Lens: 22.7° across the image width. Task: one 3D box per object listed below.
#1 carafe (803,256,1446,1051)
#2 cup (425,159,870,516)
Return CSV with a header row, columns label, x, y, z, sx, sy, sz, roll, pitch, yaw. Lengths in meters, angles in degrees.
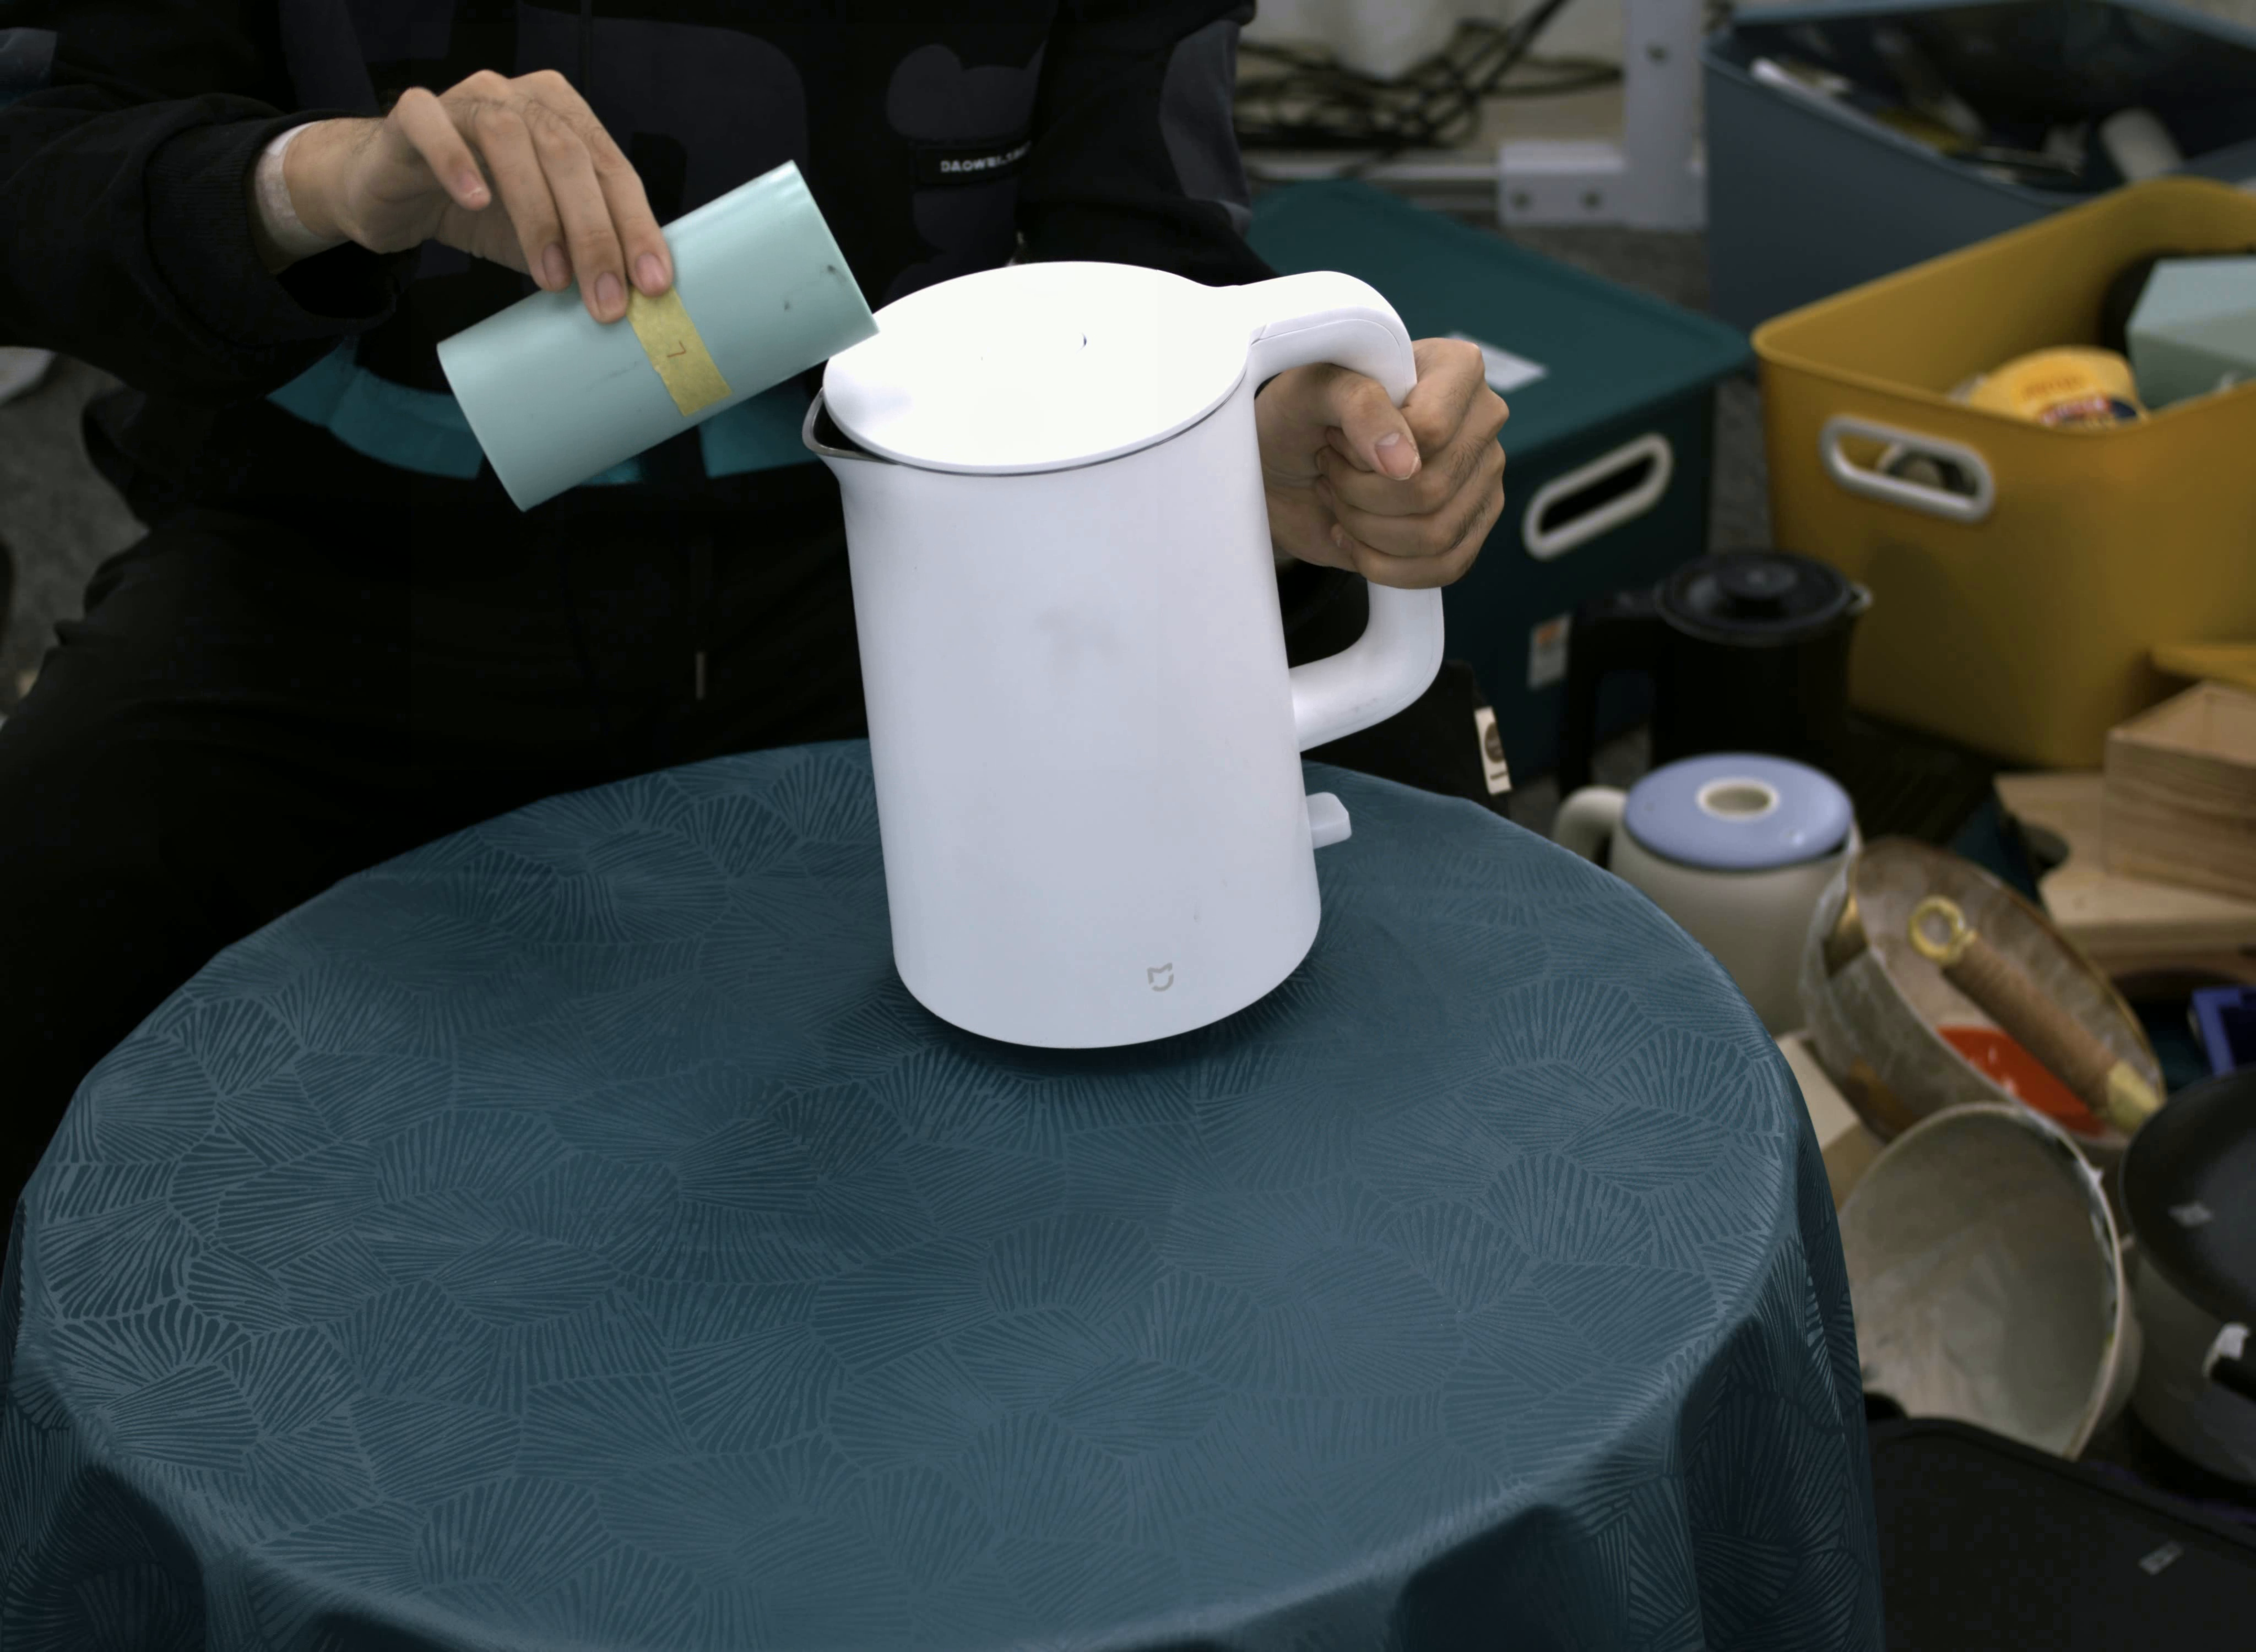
label,x,y,z,sx,sy,sz,roll,pitch,yaw
carafe,0.006,-0.066,1.933,0.213,0.237,0.154,-15,33,-13
cup,-0.155,-0.158,1.827,0.132,0.066,0.067,-28,29,0
